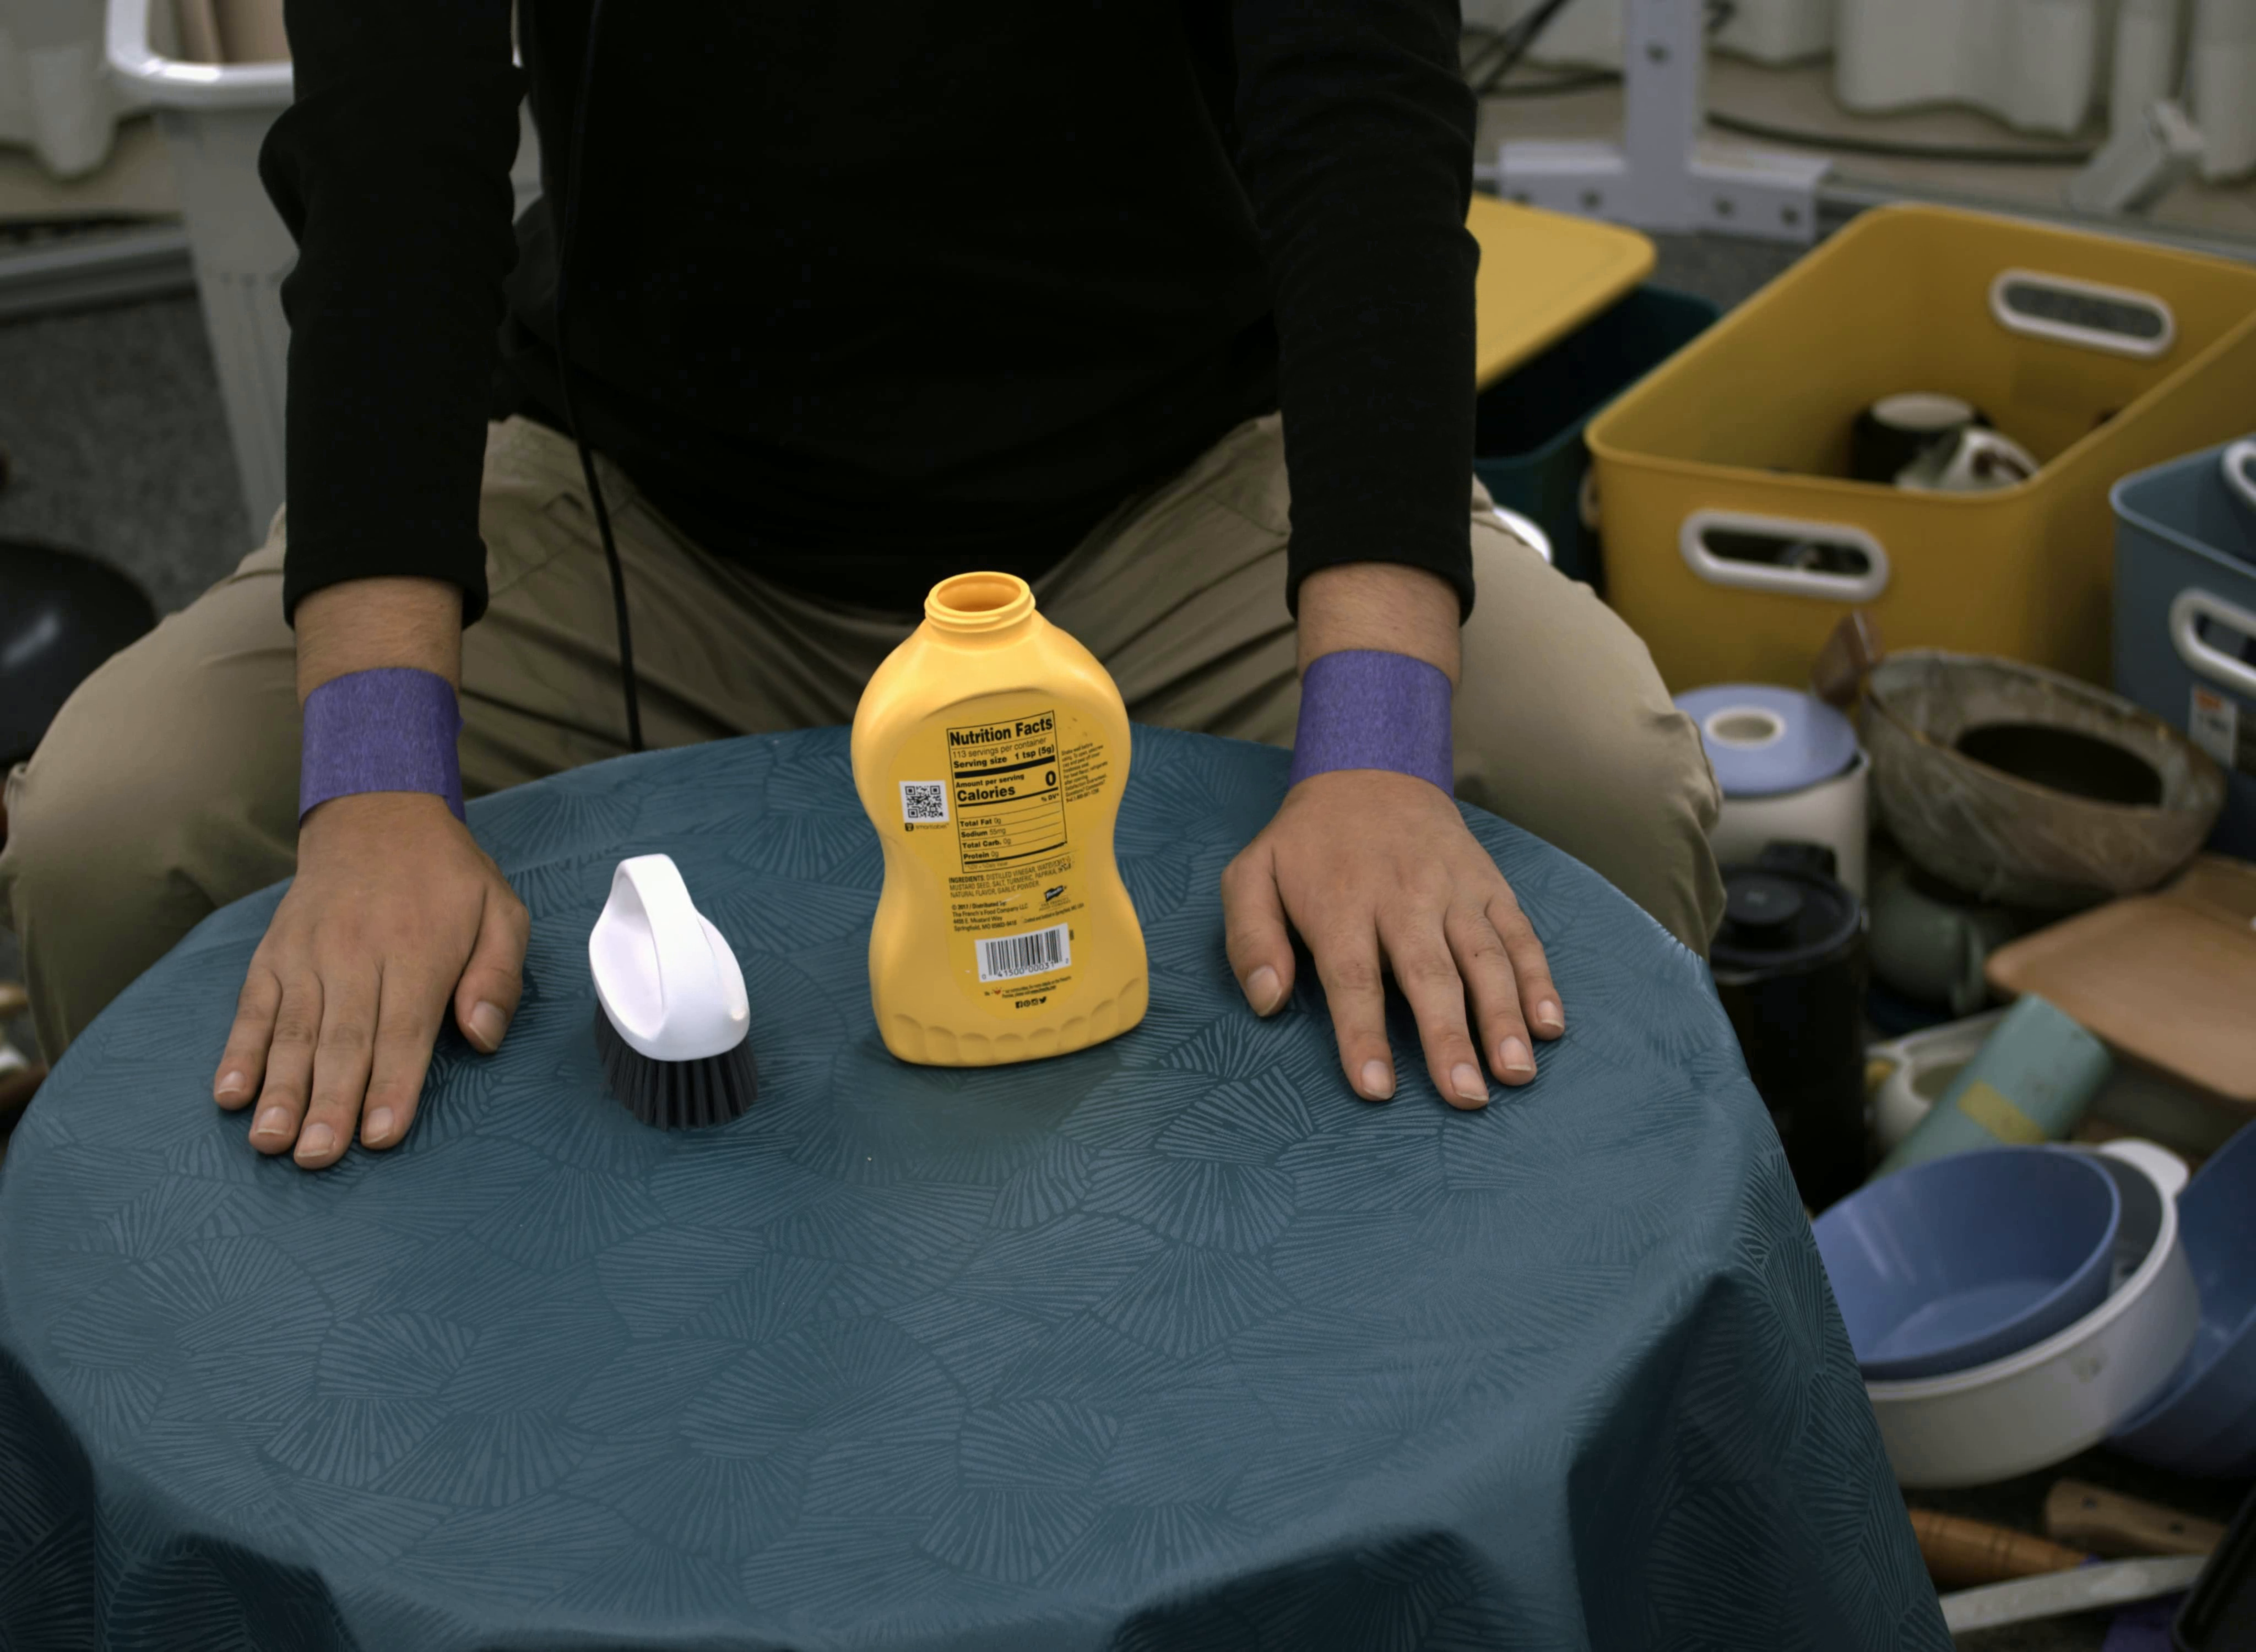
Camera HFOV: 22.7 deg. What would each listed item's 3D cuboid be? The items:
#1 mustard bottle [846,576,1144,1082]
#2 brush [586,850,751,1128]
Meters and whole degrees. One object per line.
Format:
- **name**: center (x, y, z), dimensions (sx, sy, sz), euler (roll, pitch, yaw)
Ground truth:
- **mustard bottle**: center (-0.048, -0.001, 1.923), dimensions (0.098, 0.170, 0.060), euler (-11, 23, -13)
- **brush**: center (-0.160, 0.050, 1.936), dimensions (0.050, 0.071, 0.100), euler (-8, 29, -12)
